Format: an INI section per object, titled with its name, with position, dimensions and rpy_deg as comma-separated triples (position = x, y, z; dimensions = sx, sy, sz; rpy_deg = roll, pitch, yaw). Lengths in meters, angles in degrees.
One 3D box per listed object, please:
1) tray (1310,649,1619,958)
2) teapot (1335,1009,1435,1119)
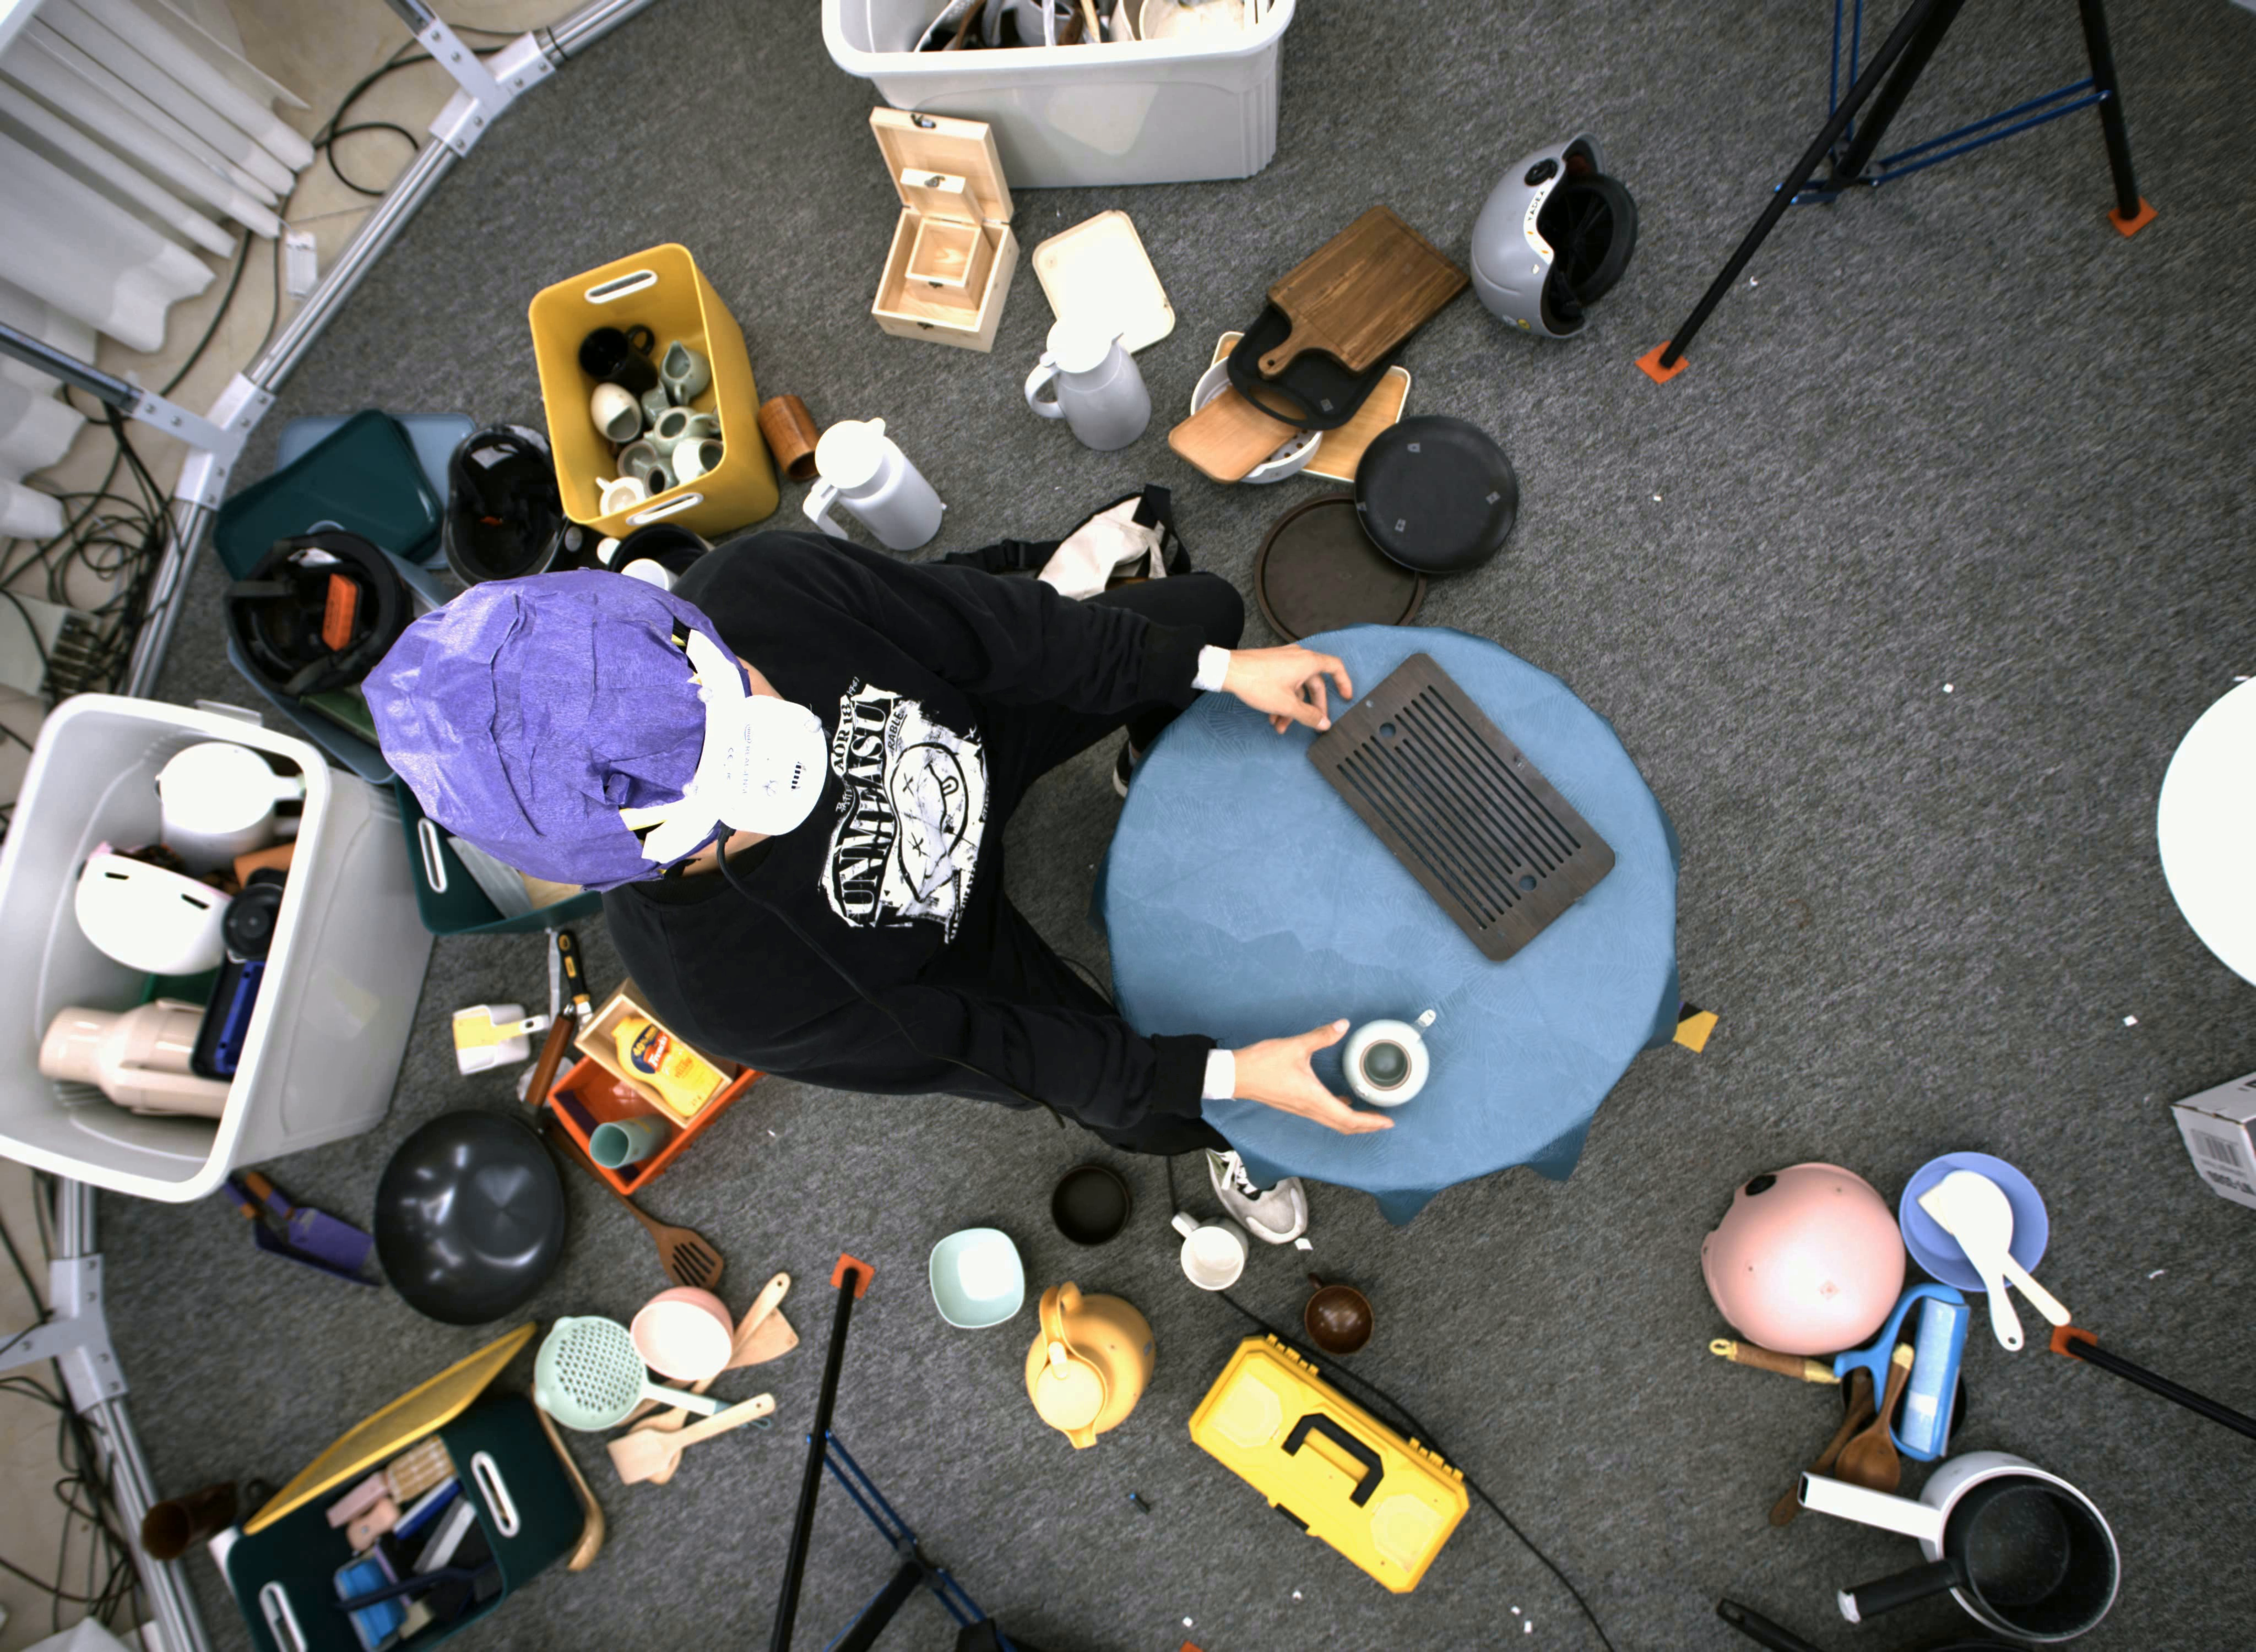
[tray]
position = 0.349, -0.027, 1.442
dimensions = 0.171, 0.018, 0.304
rpy_deg = -42, 81, 7
[teapot]
position = 0.263, 0.240, 1.418
dimensions = 0.088, 0.075, 0.144
rpy_deg = 43, 93, 10
